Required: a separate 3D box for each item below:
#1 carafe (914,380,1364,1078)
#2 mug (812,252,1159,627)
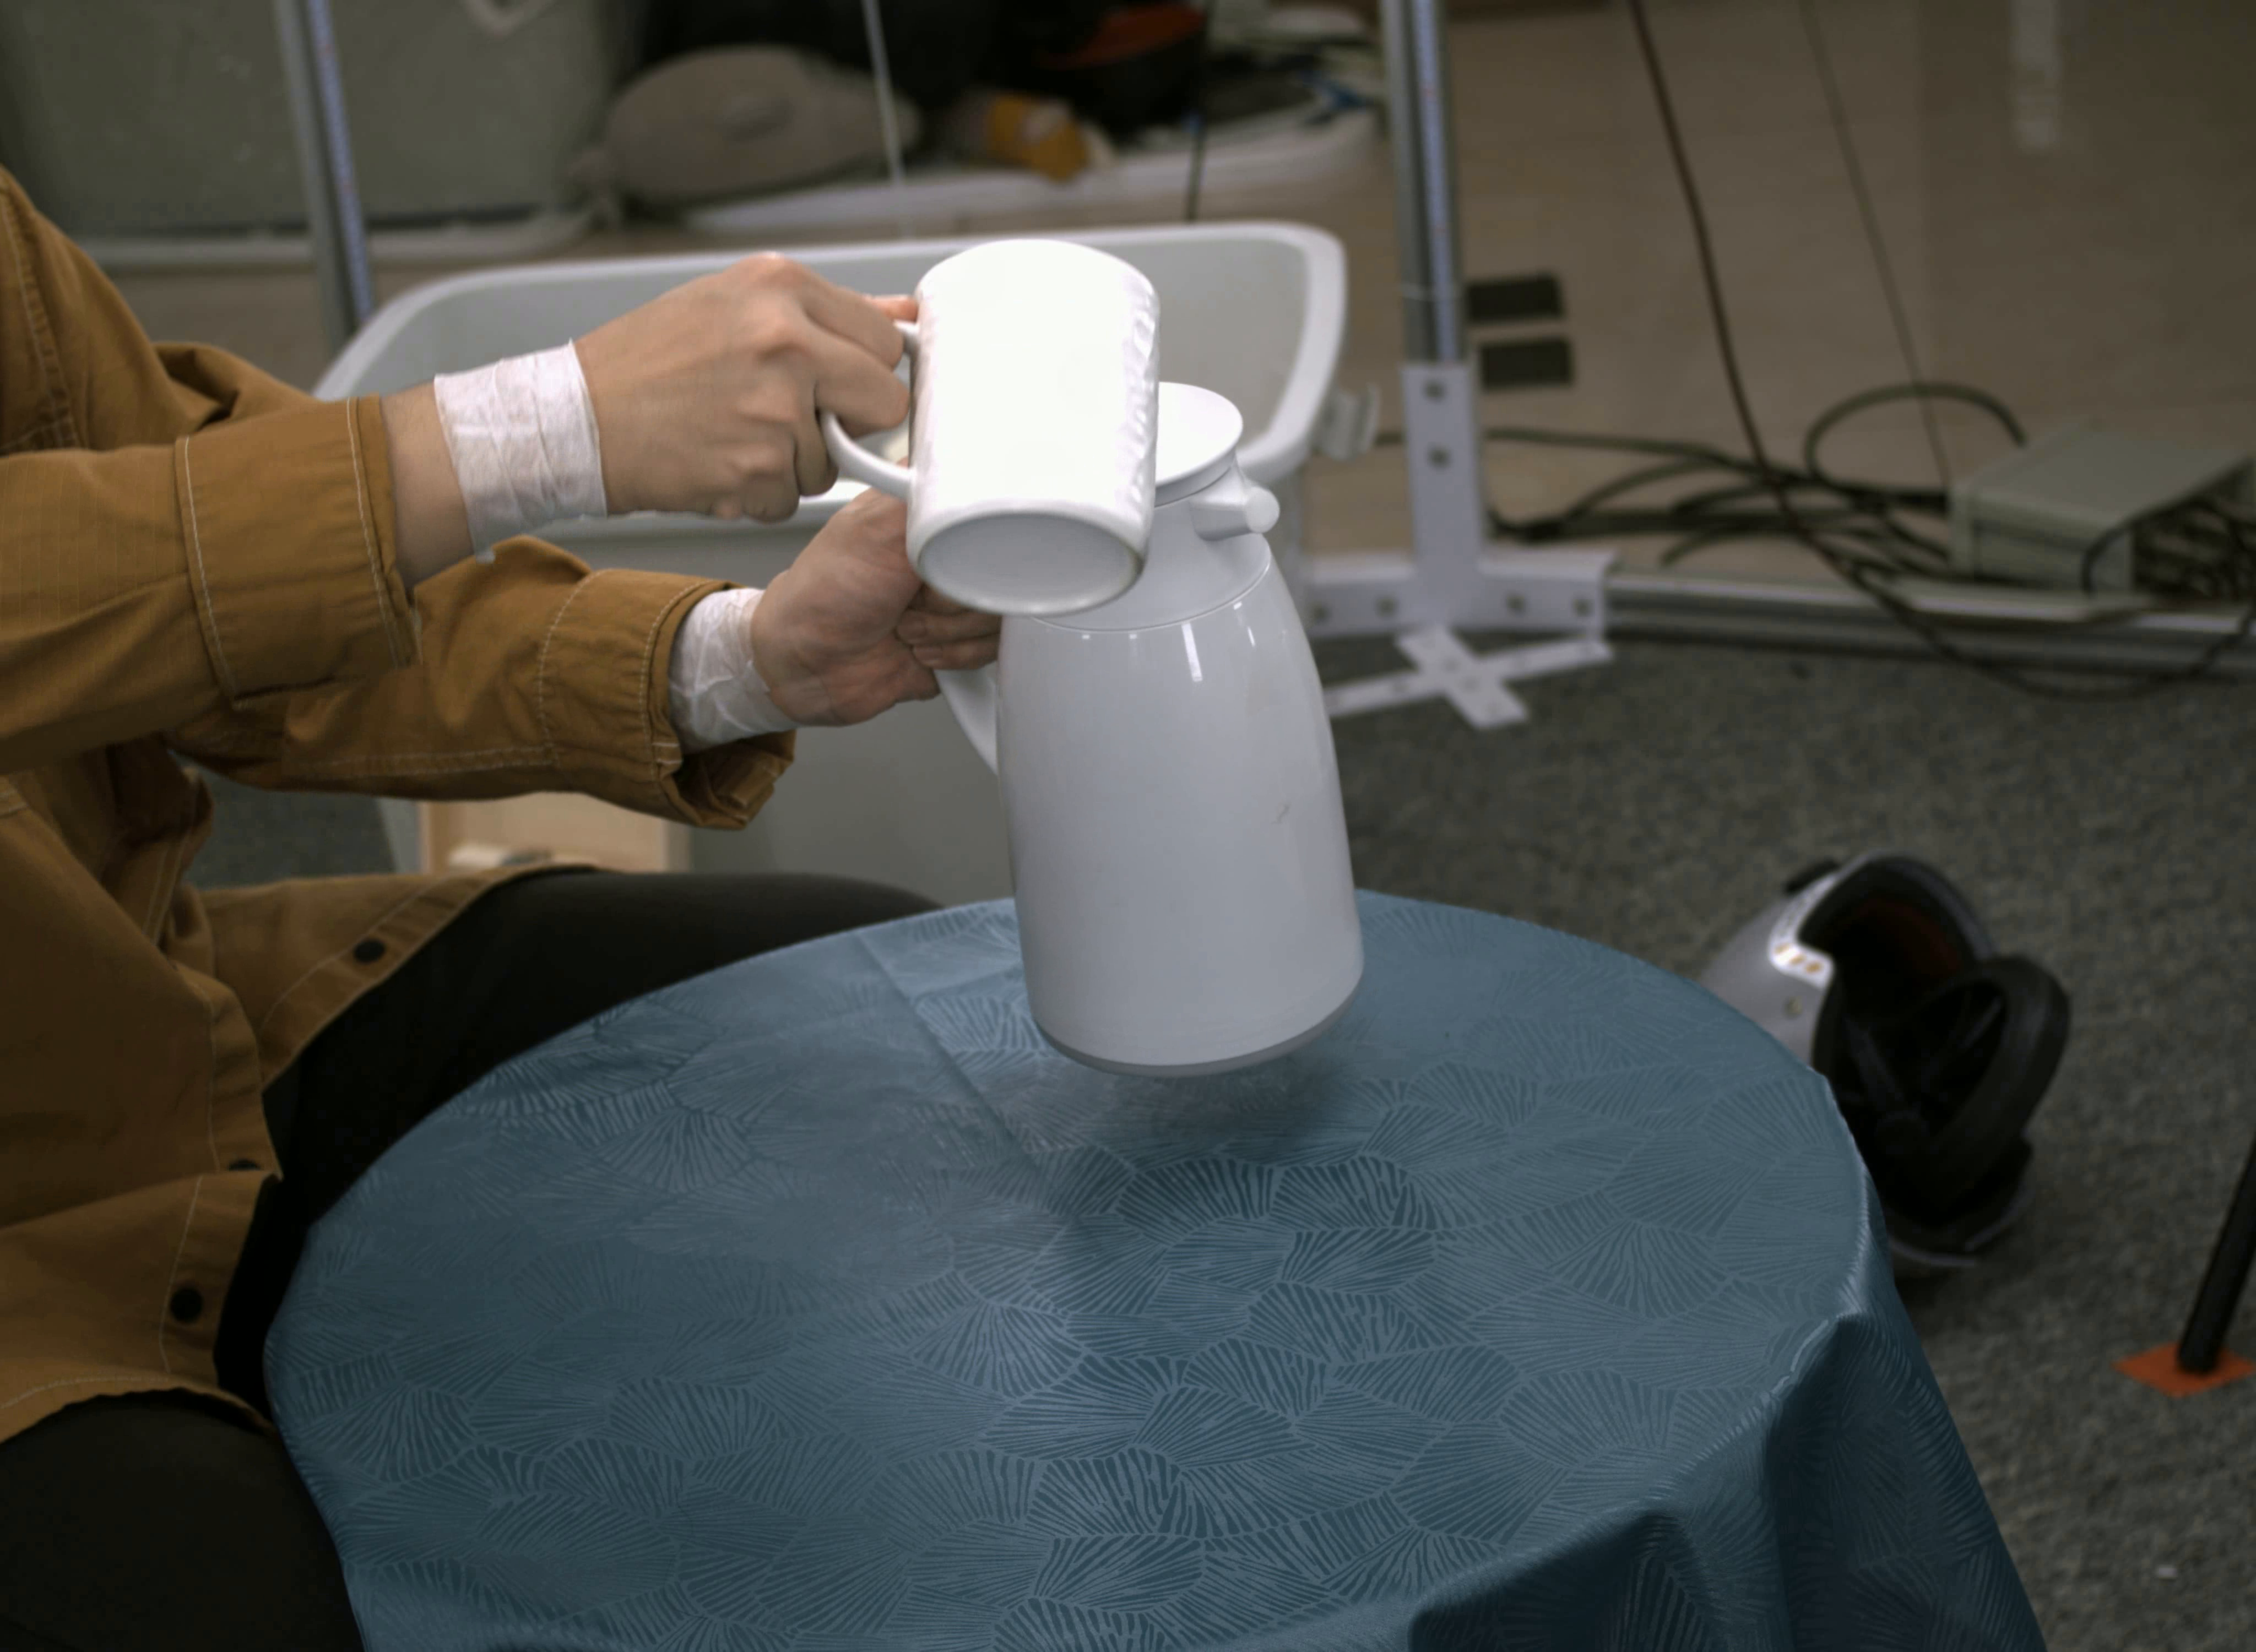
[{"bbox_3d":[-0.005,-0.046,2.150,0.167,0.253,0.131,12,37,32],"label":"carafe"},{"bbox_3d":[-0.049,-0.132,1.916,0.118,0.086,0.100,6,66,-12],"label":"mug"}]
